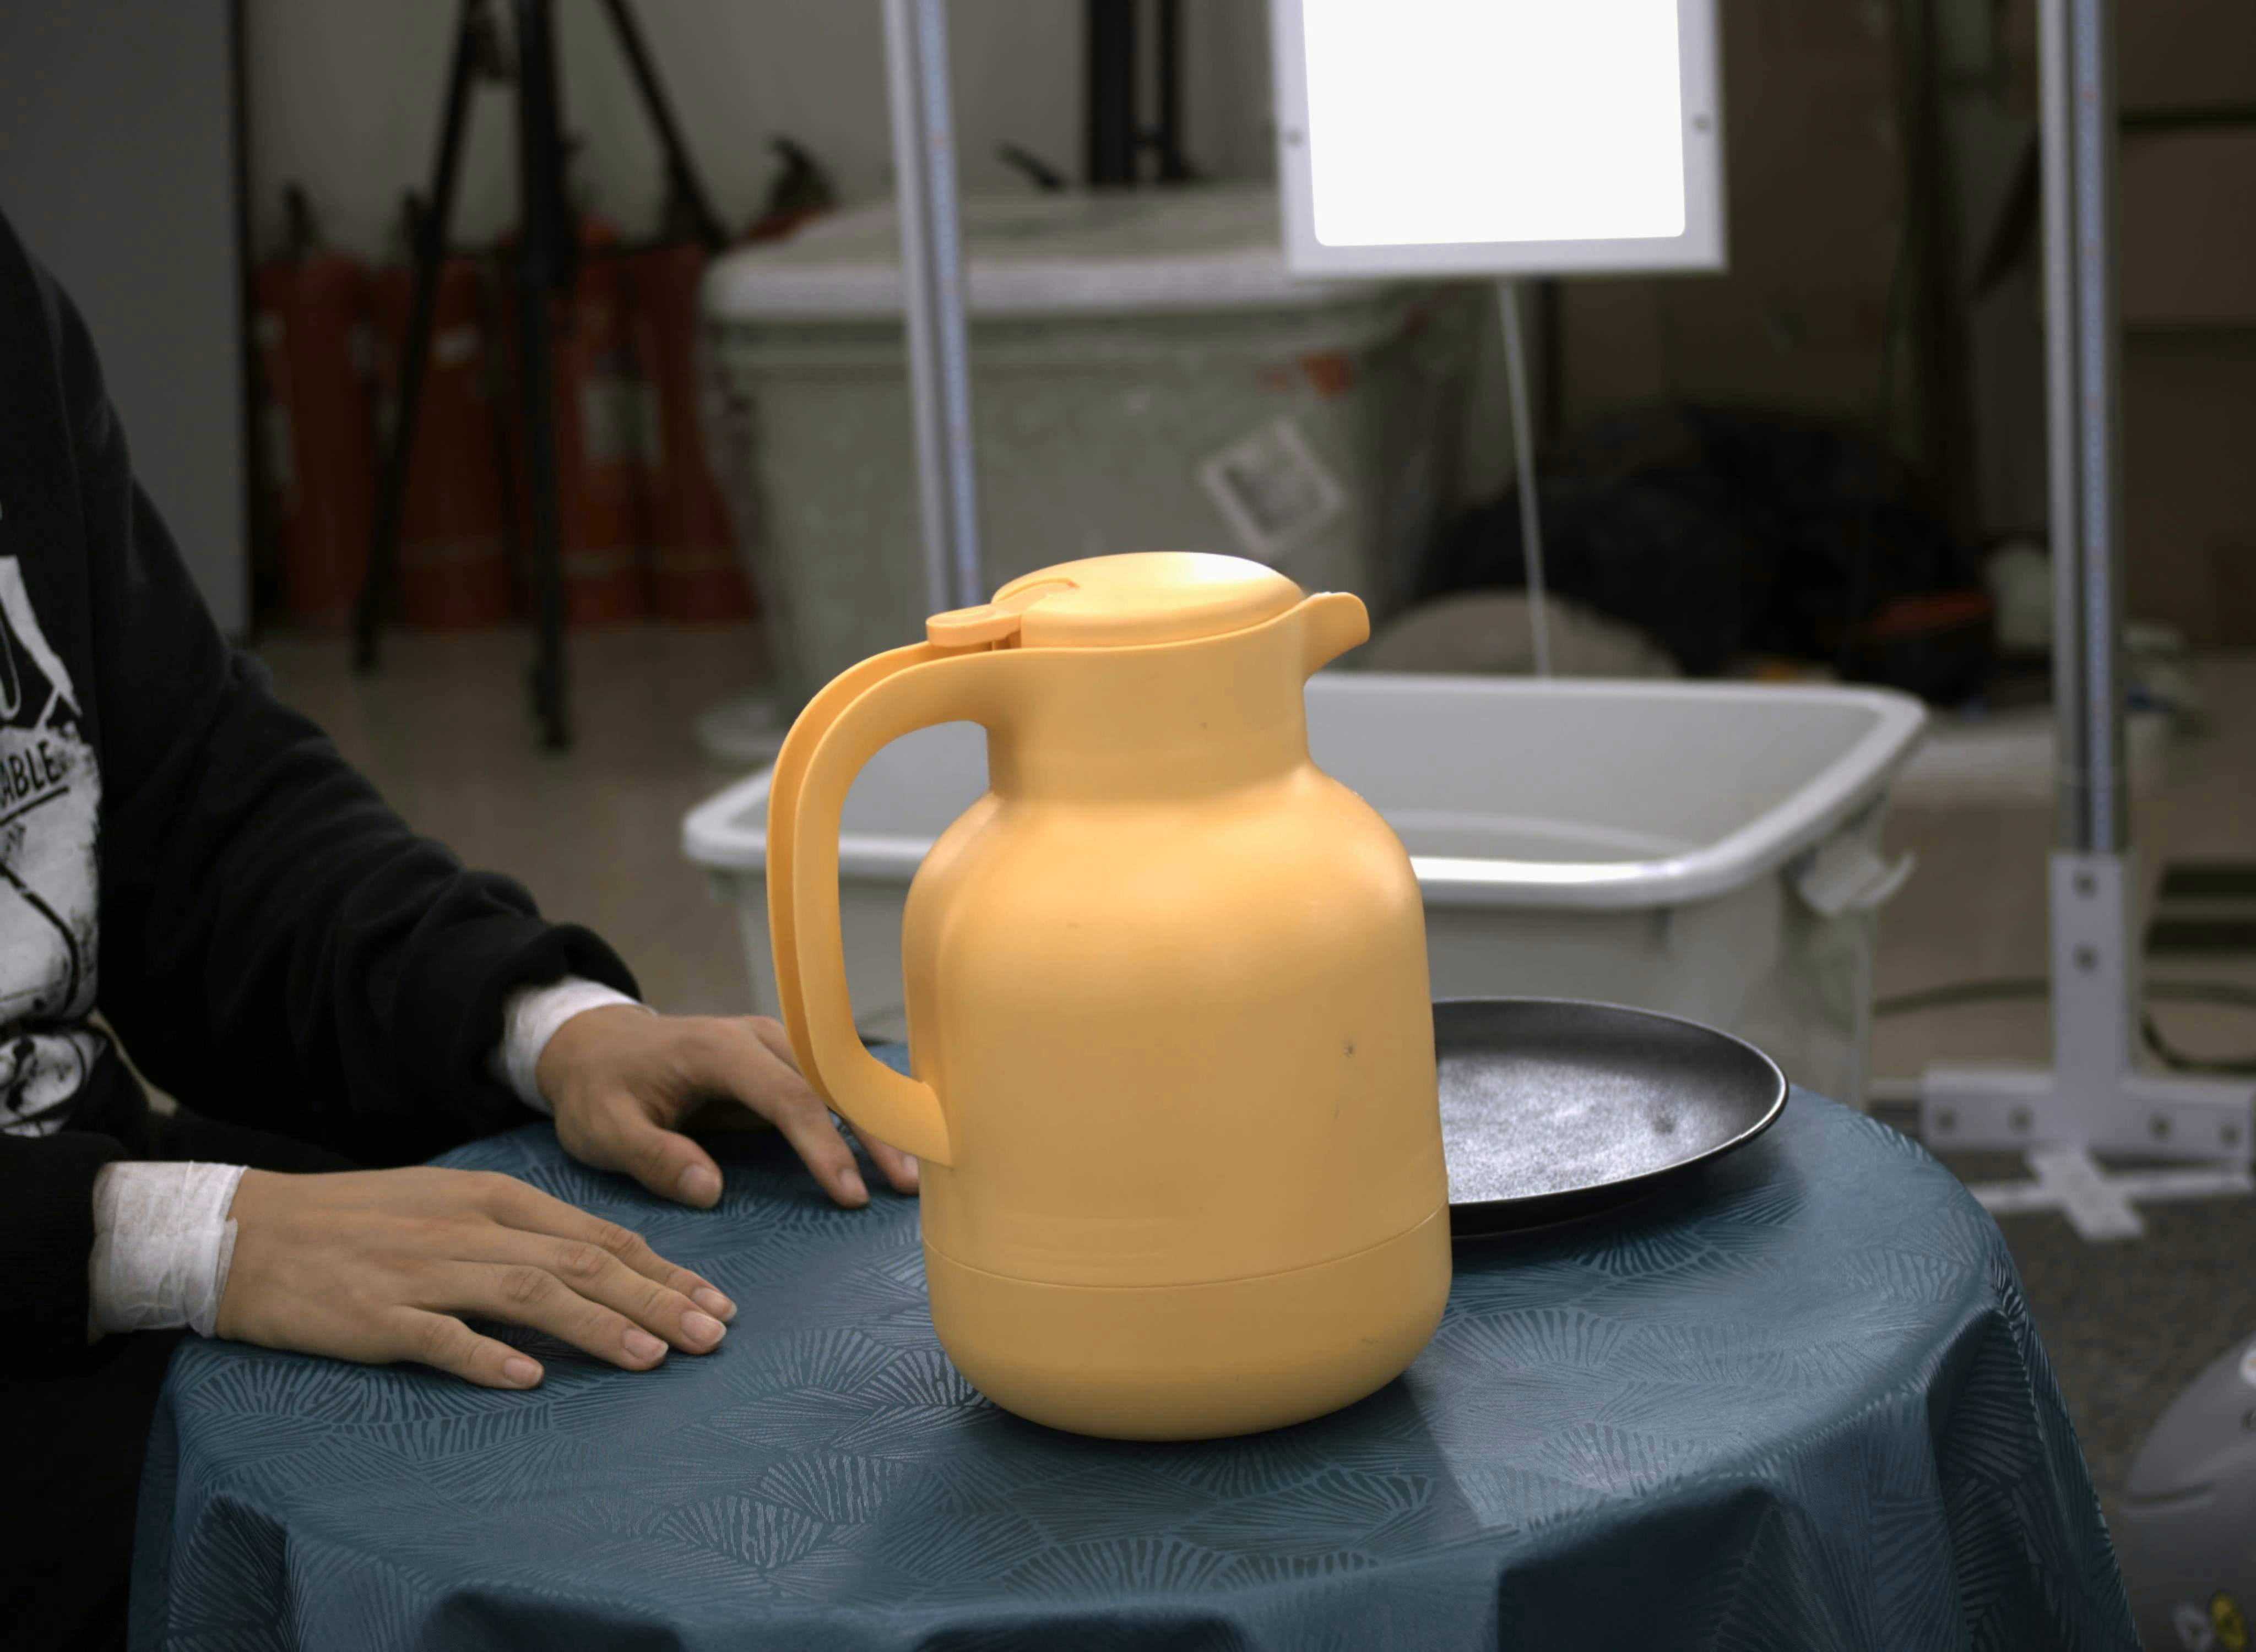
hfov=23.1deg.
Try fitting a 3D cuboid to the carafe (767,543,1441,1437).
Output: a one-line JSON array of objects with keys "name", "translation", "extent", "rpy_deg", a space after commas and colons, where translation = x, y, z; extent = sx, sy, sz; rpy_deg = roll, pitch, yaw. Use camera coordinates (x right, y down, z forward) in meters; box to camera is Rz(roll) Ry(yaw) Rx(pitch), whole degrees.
[{"name": "carafe", "translation": [-0.008, 0.048, 1.669], "extent": [0.199, 0.261, 0.165], "rpy_deg": [-7, 11, -18]}]

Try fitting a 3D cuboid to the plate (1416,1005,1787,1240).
[{"name": "plate", "translation": [0.107, 0.104, 1.900], "extent": [0.244, 0.023, 0.244], "rpy_deg": [-5, 14, 0]}]
